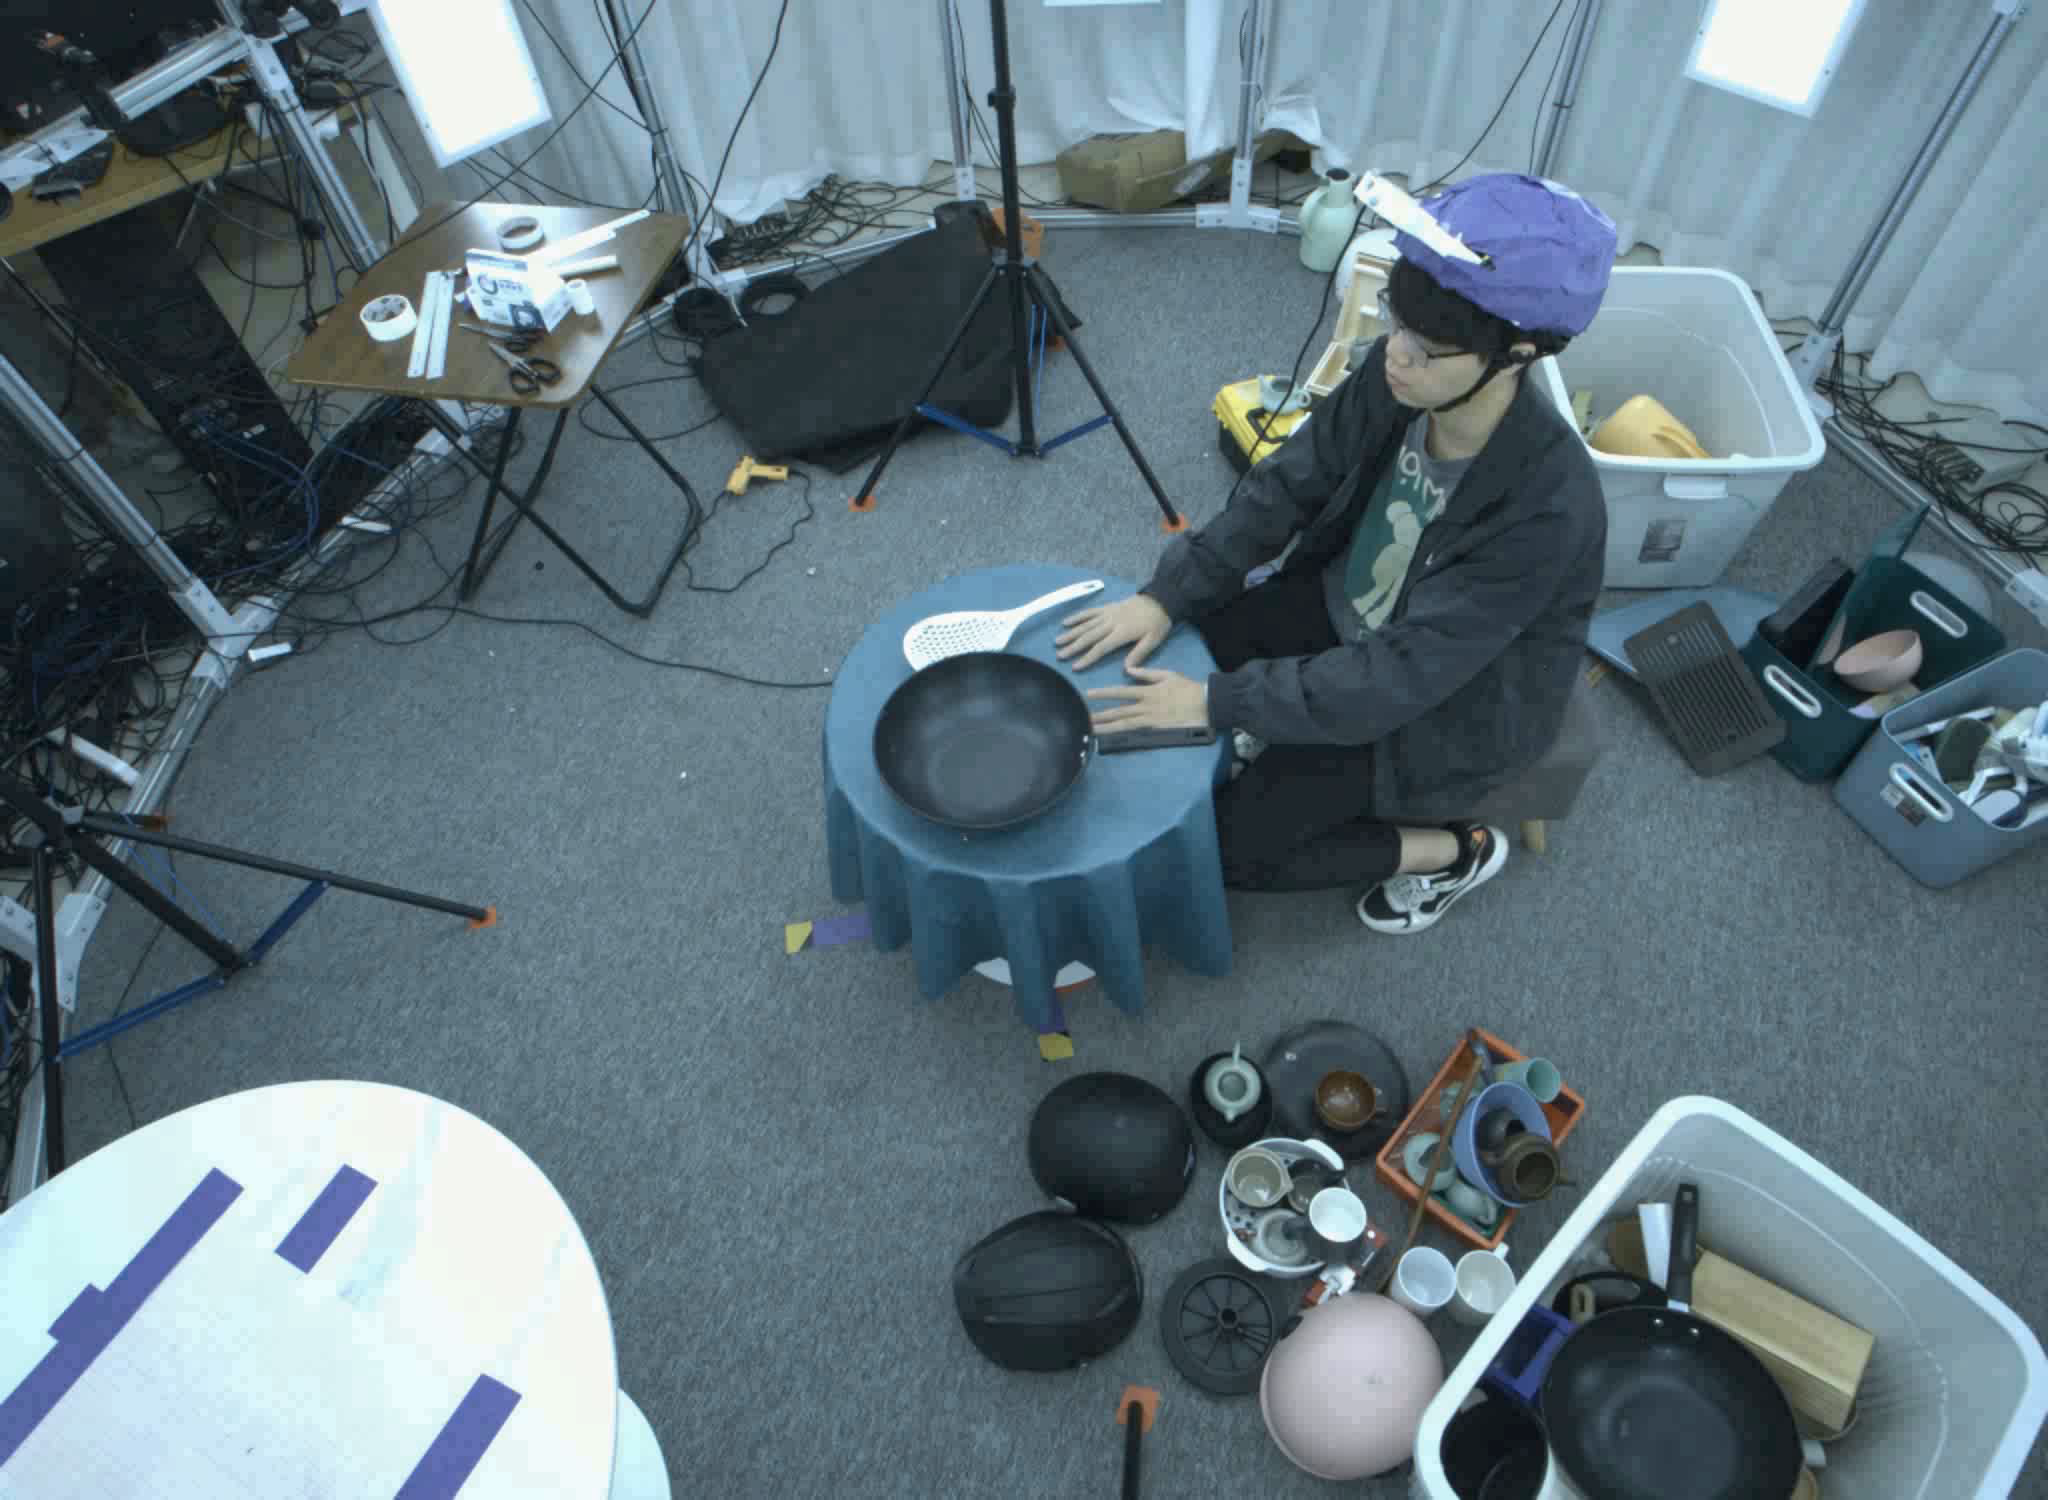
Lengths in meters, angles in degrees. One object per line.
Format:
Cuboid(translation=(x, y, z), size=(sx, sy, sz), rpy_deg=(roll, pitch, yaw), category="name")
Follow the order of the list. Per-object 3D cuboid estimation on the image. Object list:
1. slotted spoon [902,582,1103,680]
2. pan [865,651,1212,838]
Cuboid(translation=(-0.022, -0.196, 1.895), size=(0.351, 0.051, 0.134), rpy_deg=(-28, 56, -17), category="slotted spoon")
Cuboid(translation=(0.019, 0.003, 1.712), size=(0.475, 0.113, 0.307), rpy_deg=(3, 56, 4), category="pan")
